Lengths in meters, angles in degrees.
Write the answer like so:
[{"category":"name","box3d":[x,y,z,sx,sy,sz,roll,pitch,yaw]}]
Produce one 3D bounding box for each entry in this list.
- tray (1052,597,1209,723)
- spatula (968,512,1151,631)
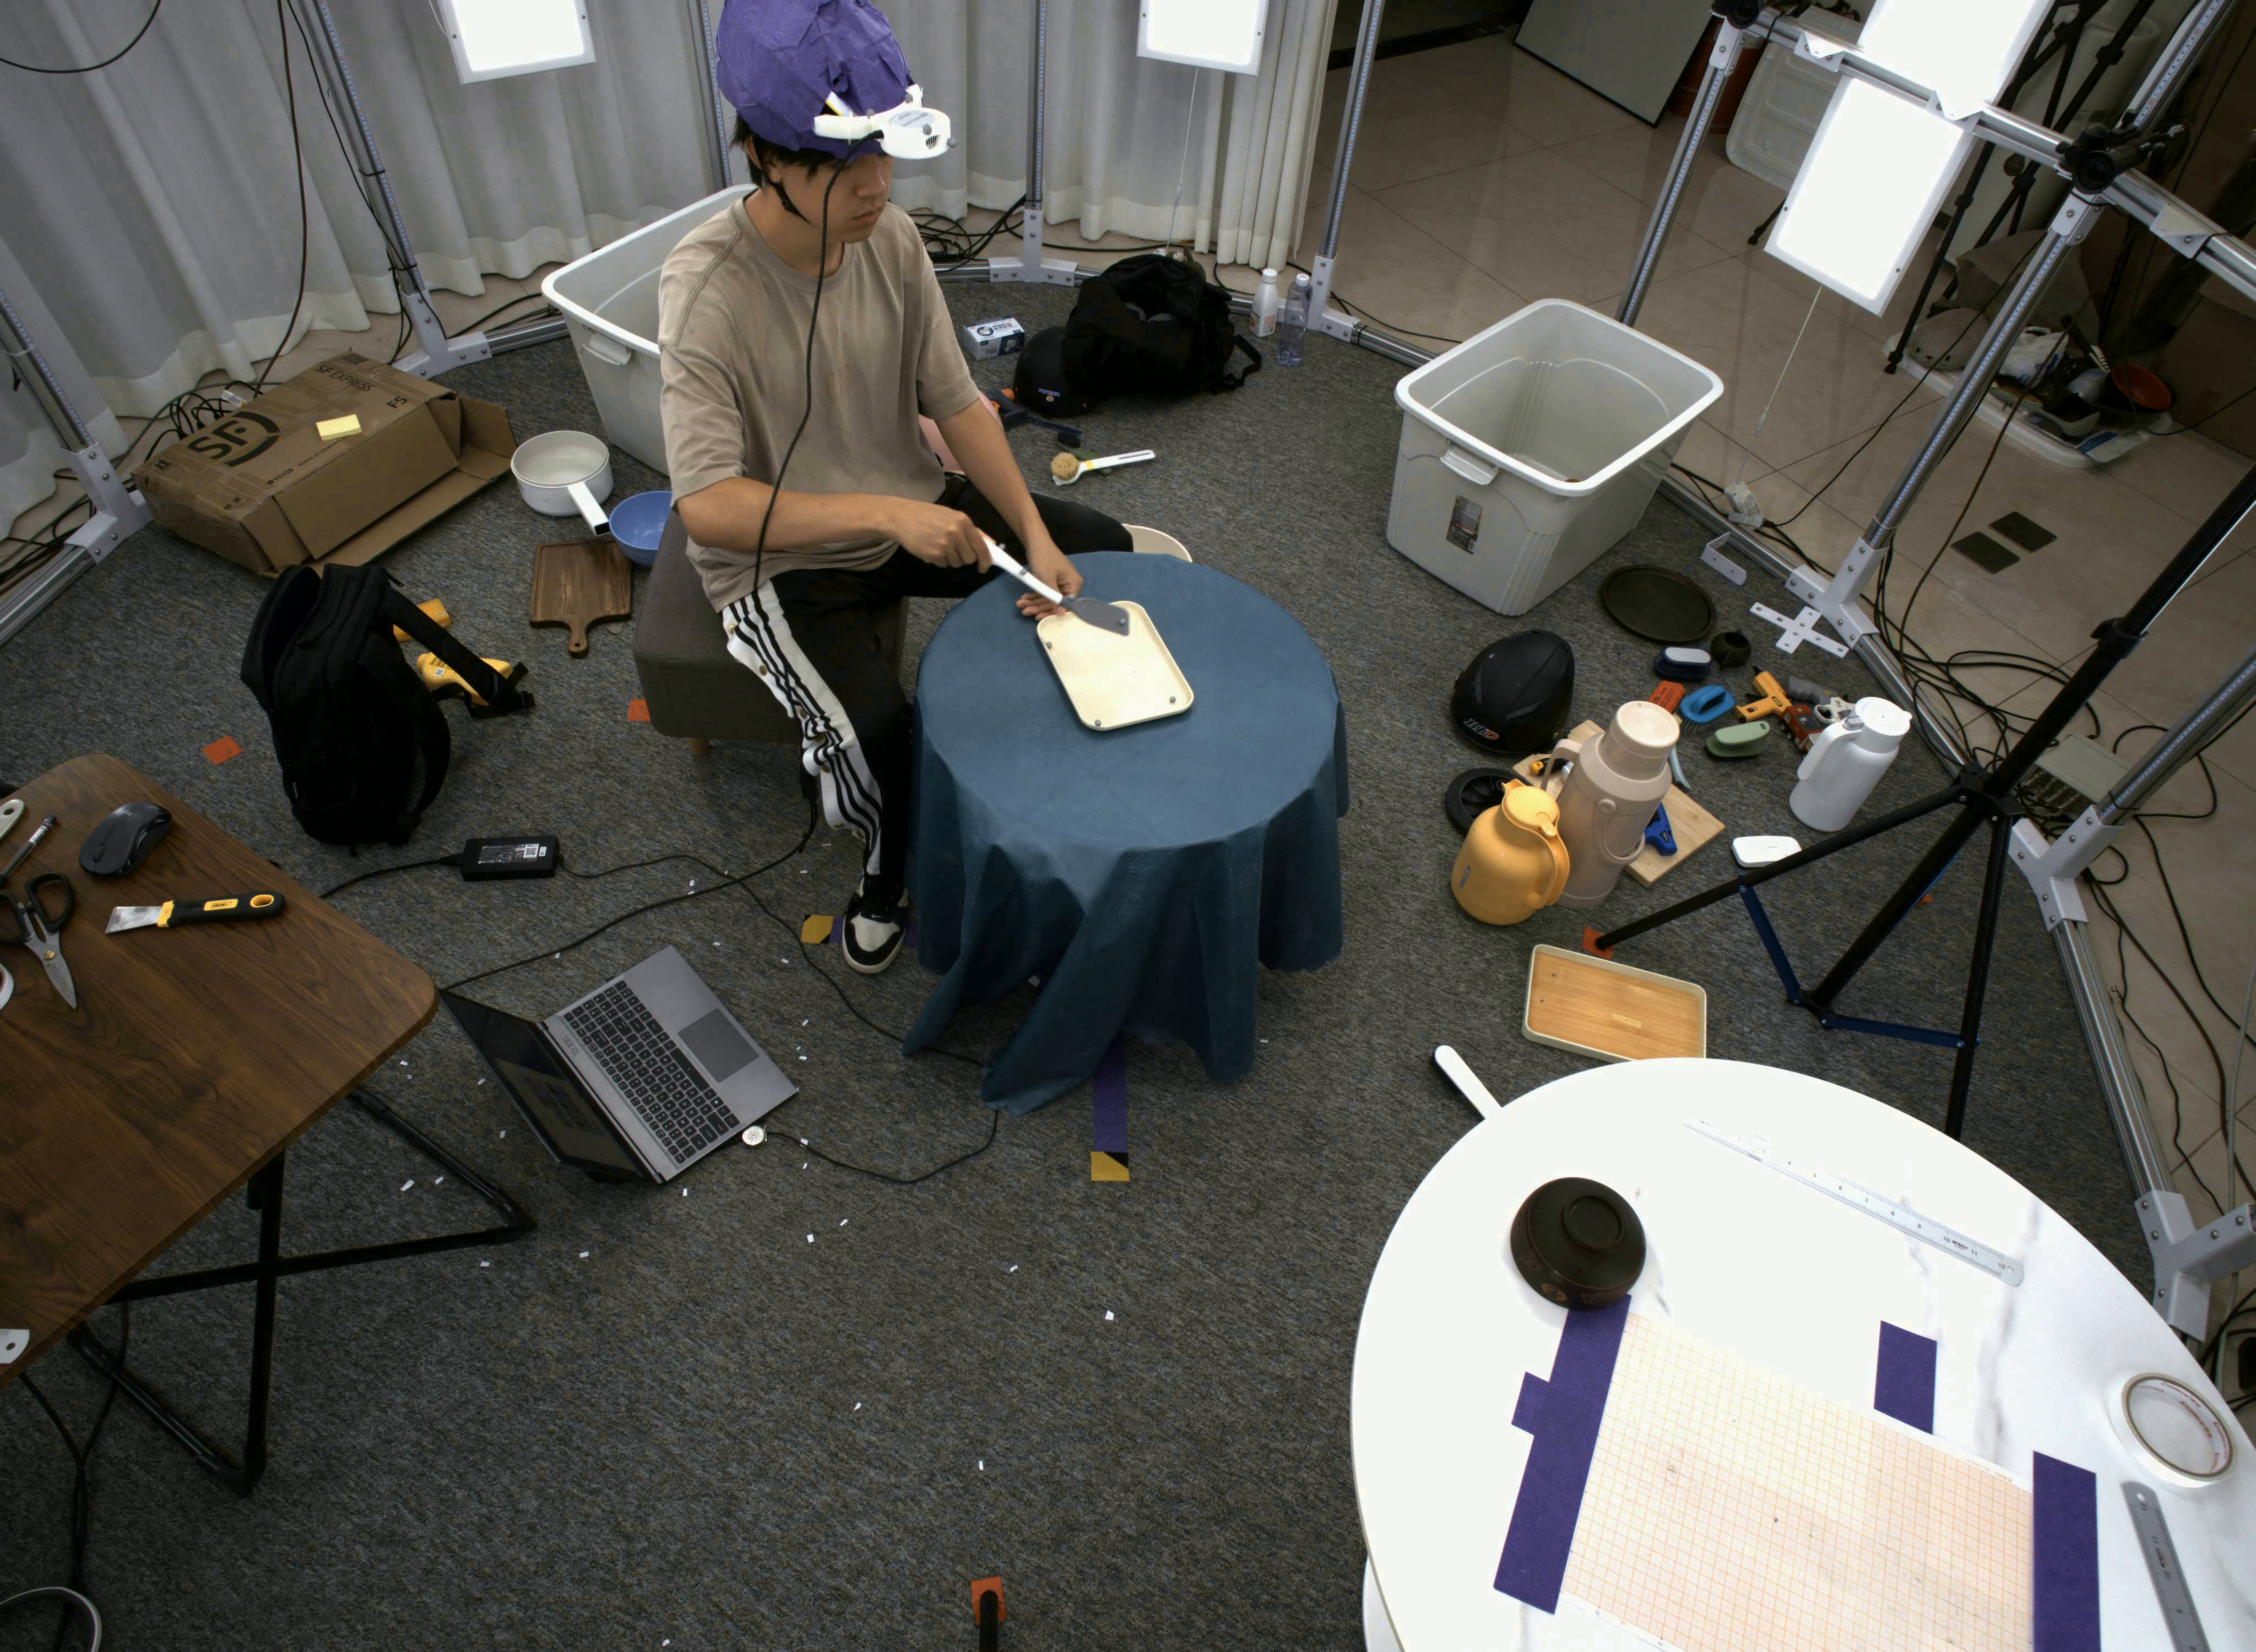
[{"category":"tray","box3d":[0.001,-0.240,1.851,0.171,0.017,0.245,-13,51,-18]},{"category":"spatula","box3d":[-0.085,-0.335,1.715,0.284,0.032,0.060,25,40,-30]}]
